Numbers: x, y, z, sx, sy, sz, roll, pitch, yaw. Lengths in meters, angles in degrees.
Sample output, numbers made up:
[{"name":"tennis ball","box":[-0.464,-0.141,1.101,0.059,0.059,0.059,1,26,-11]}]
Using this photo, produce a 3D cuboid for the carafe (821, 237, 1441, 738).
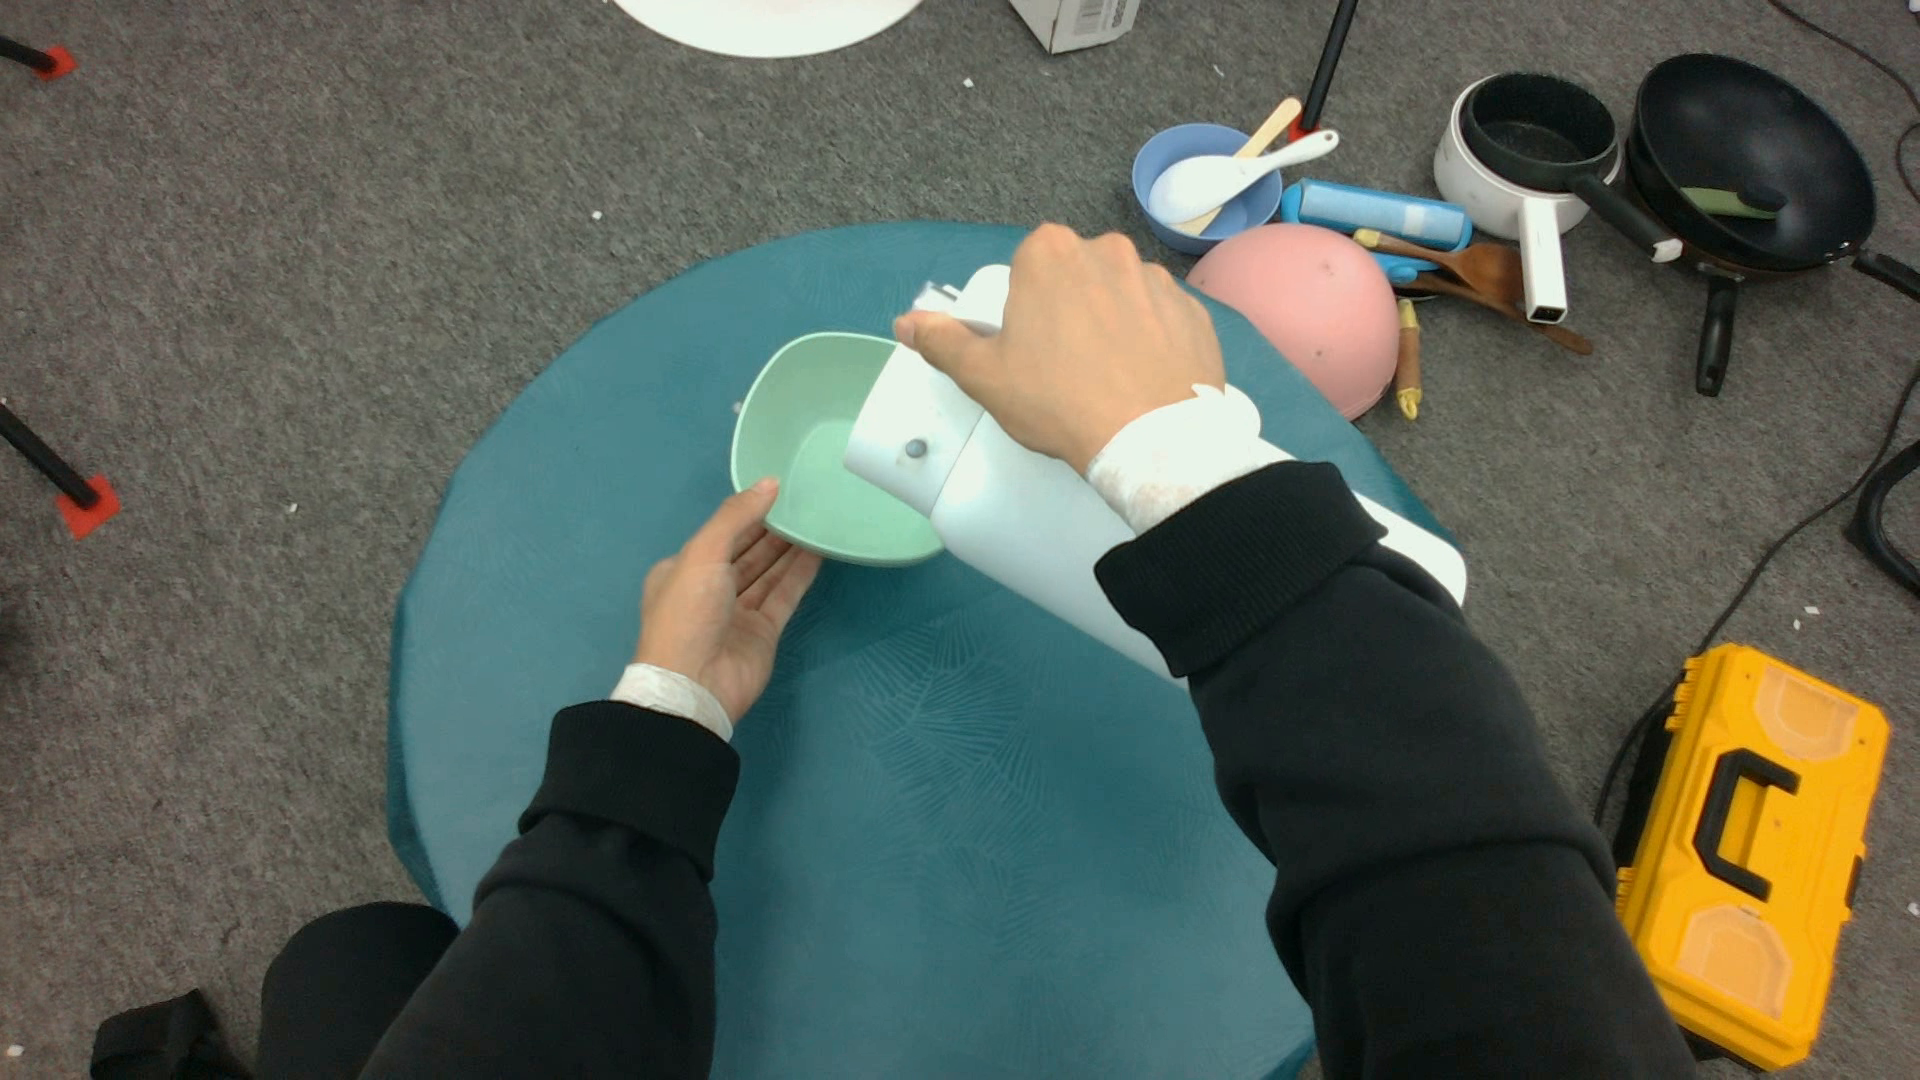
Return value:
[{"name":"carafe","box":[0.079,-0.029,0.618,0.269,0.172,0.124,31,63,2]}]

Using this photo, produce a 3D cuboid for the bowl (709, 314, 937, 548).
[{"name":"bowl","box":[-0.067,-0.052,0.772,0.151,0.058,0.152,4,63,-8]}]
